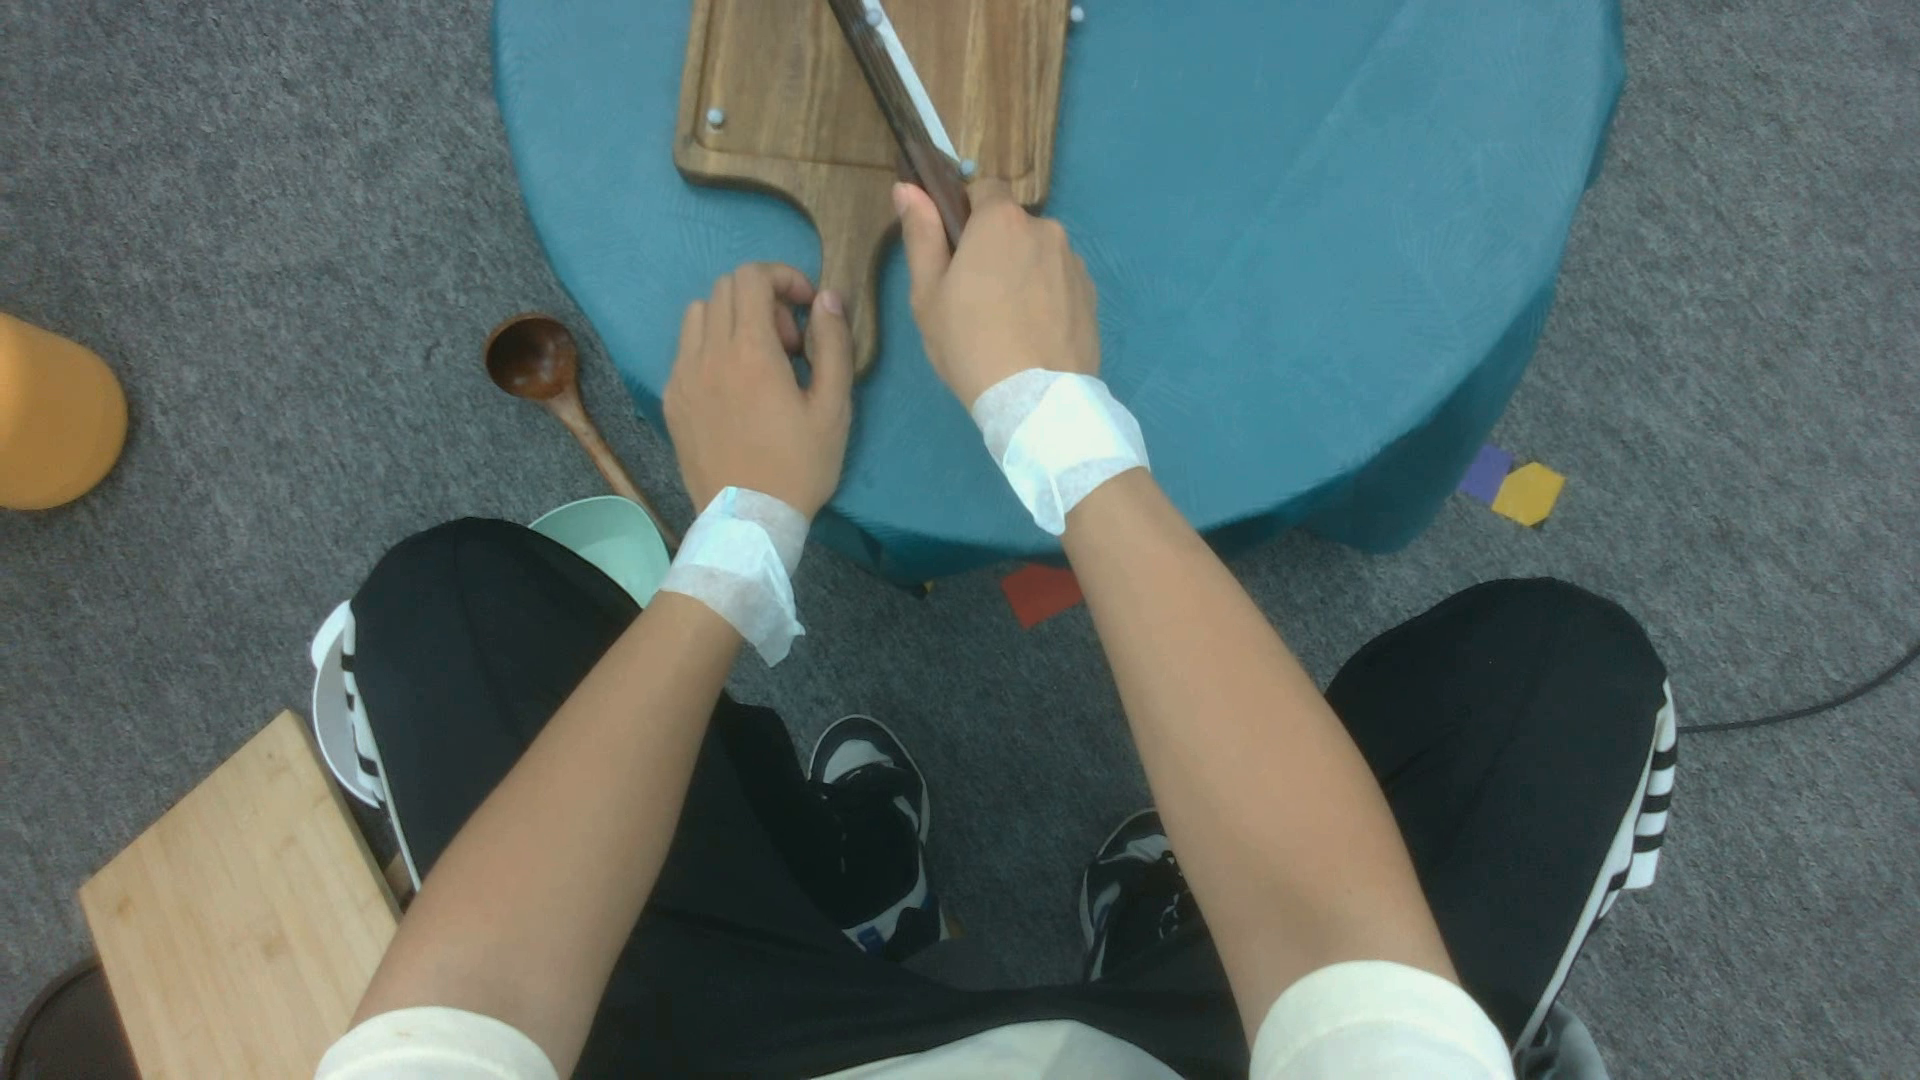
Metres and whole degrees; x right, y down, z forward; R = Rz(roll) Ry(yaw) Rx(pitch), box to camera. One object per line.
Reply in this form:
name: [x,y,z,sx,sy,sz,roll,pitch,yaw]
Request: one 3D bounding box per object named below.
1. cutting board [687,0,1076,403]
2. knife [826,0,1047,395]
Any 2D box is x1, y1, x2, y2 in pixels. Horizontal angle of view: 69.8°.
cutting board: [-0.042,-0.247,0.746,0.201,0.023,0.352,6,82,3]
knife: [-0.018,-0.201,0.692,0.024,0.068,0.300,-32,75,26]
